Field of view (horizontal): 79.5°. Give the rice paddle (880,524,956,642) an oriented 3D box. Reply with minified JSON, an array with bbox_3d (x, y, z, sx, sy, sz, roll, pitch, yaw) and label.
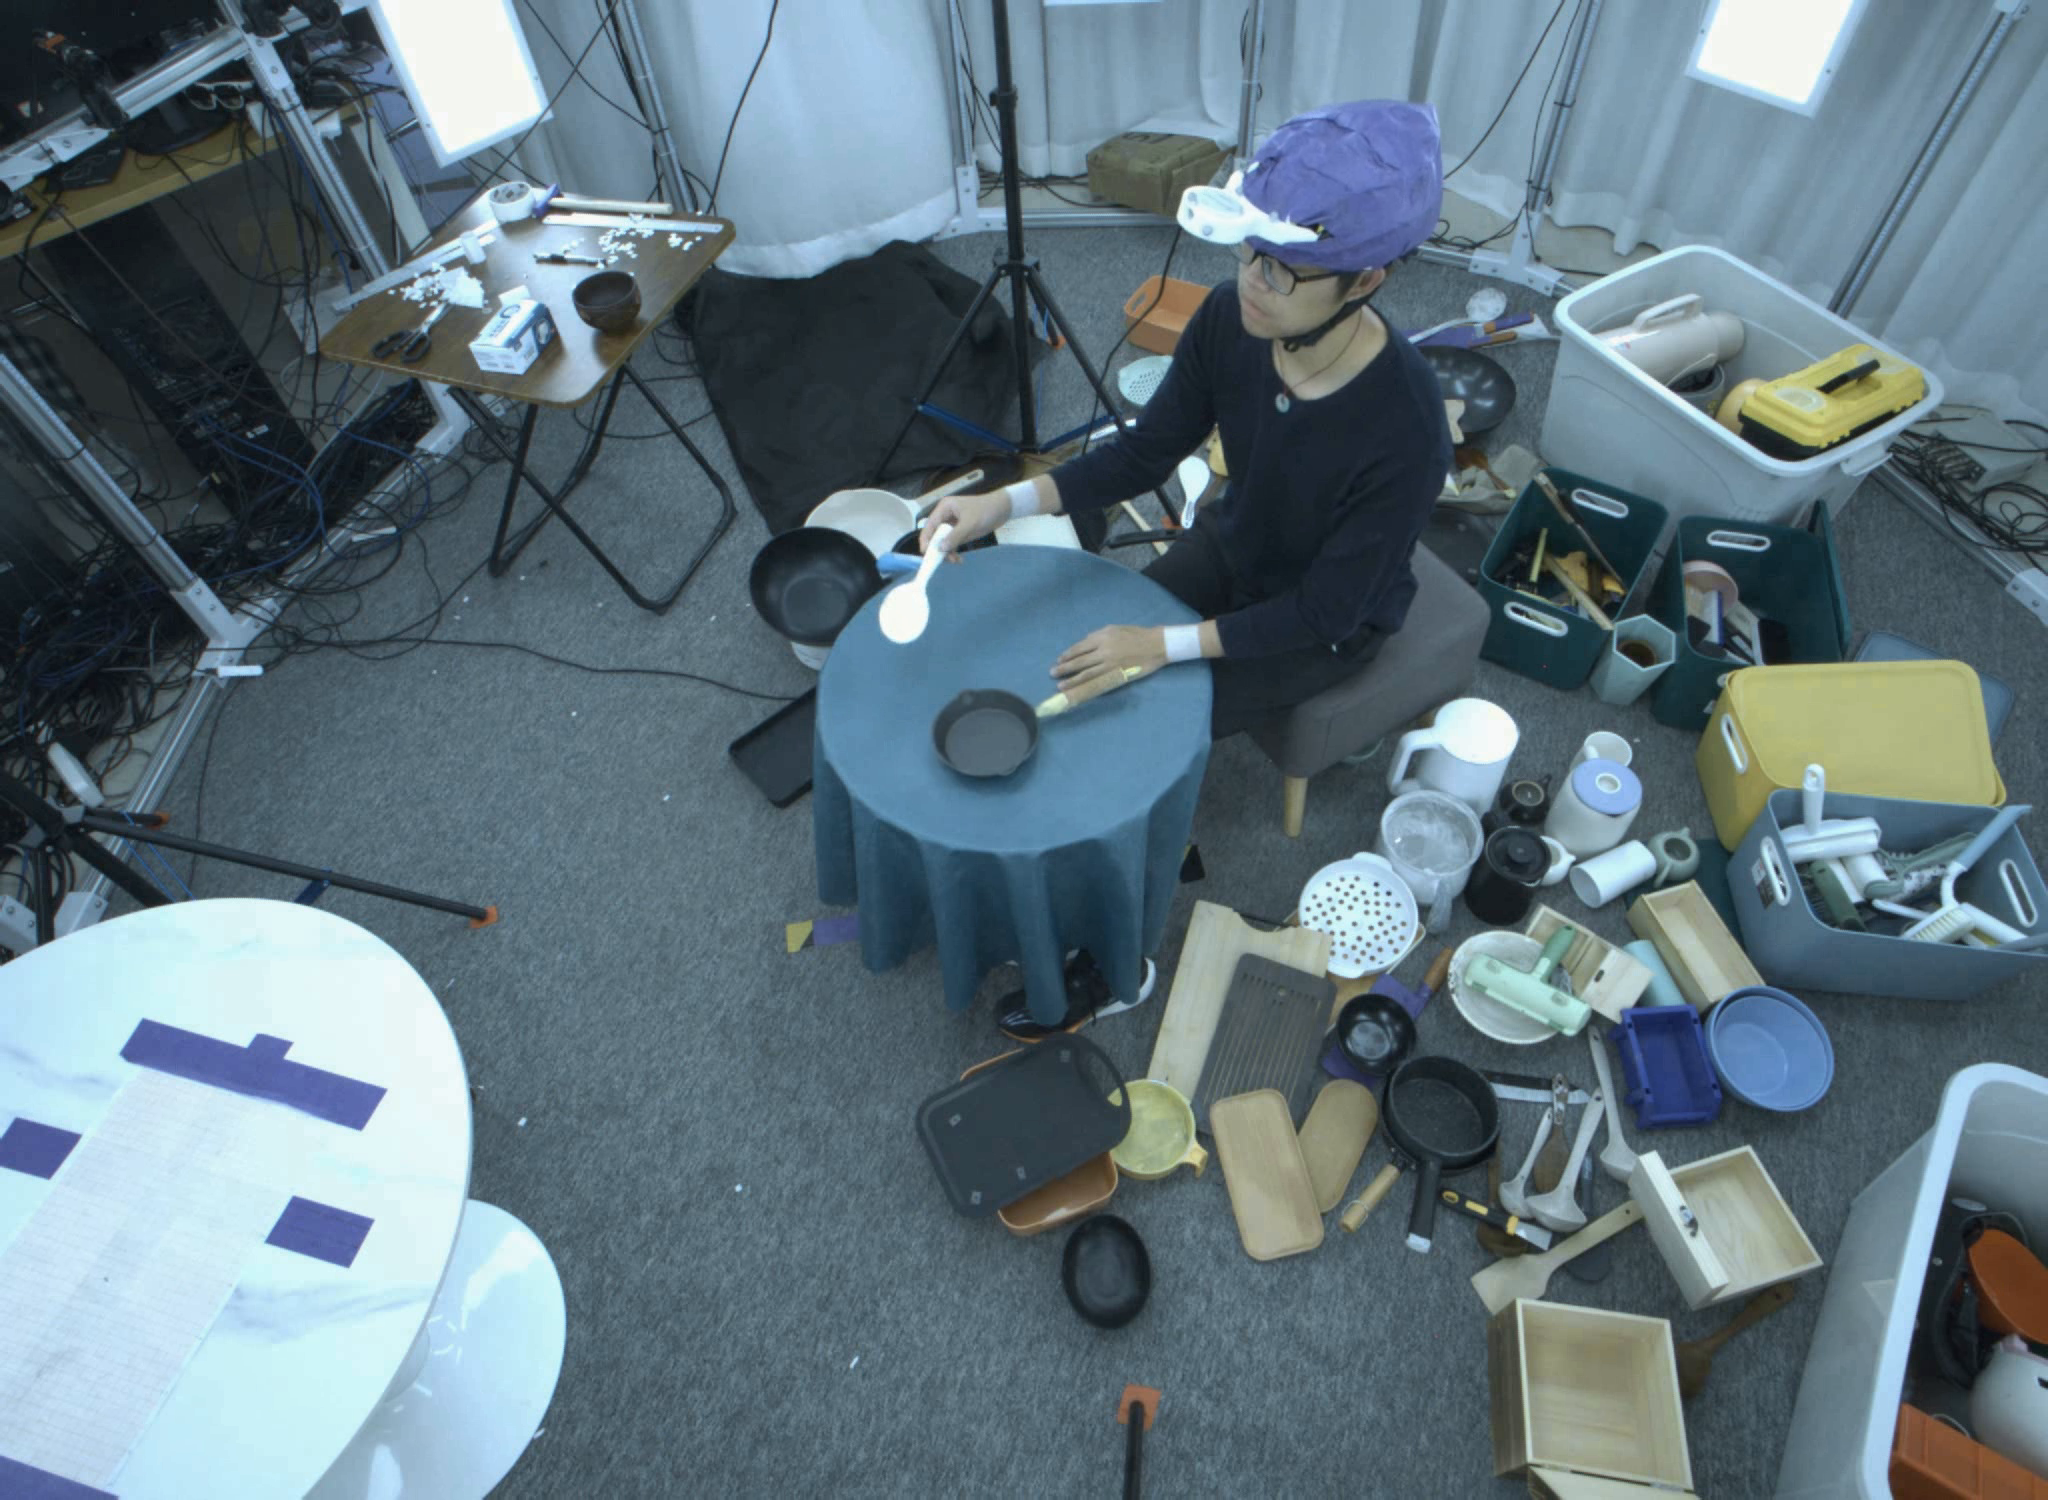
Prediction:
[{"bbox_3d":[-0.149,-0.240,1.755,0.069,0.029,0.205,30,62,-14],"label":"rice paddle"}]

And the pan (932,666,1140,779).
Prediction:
[{"bbox_3d":[0.024,-0.052,1.792,0.326,0.050,0.166,-21,56,-10],"label":"pan"}]
